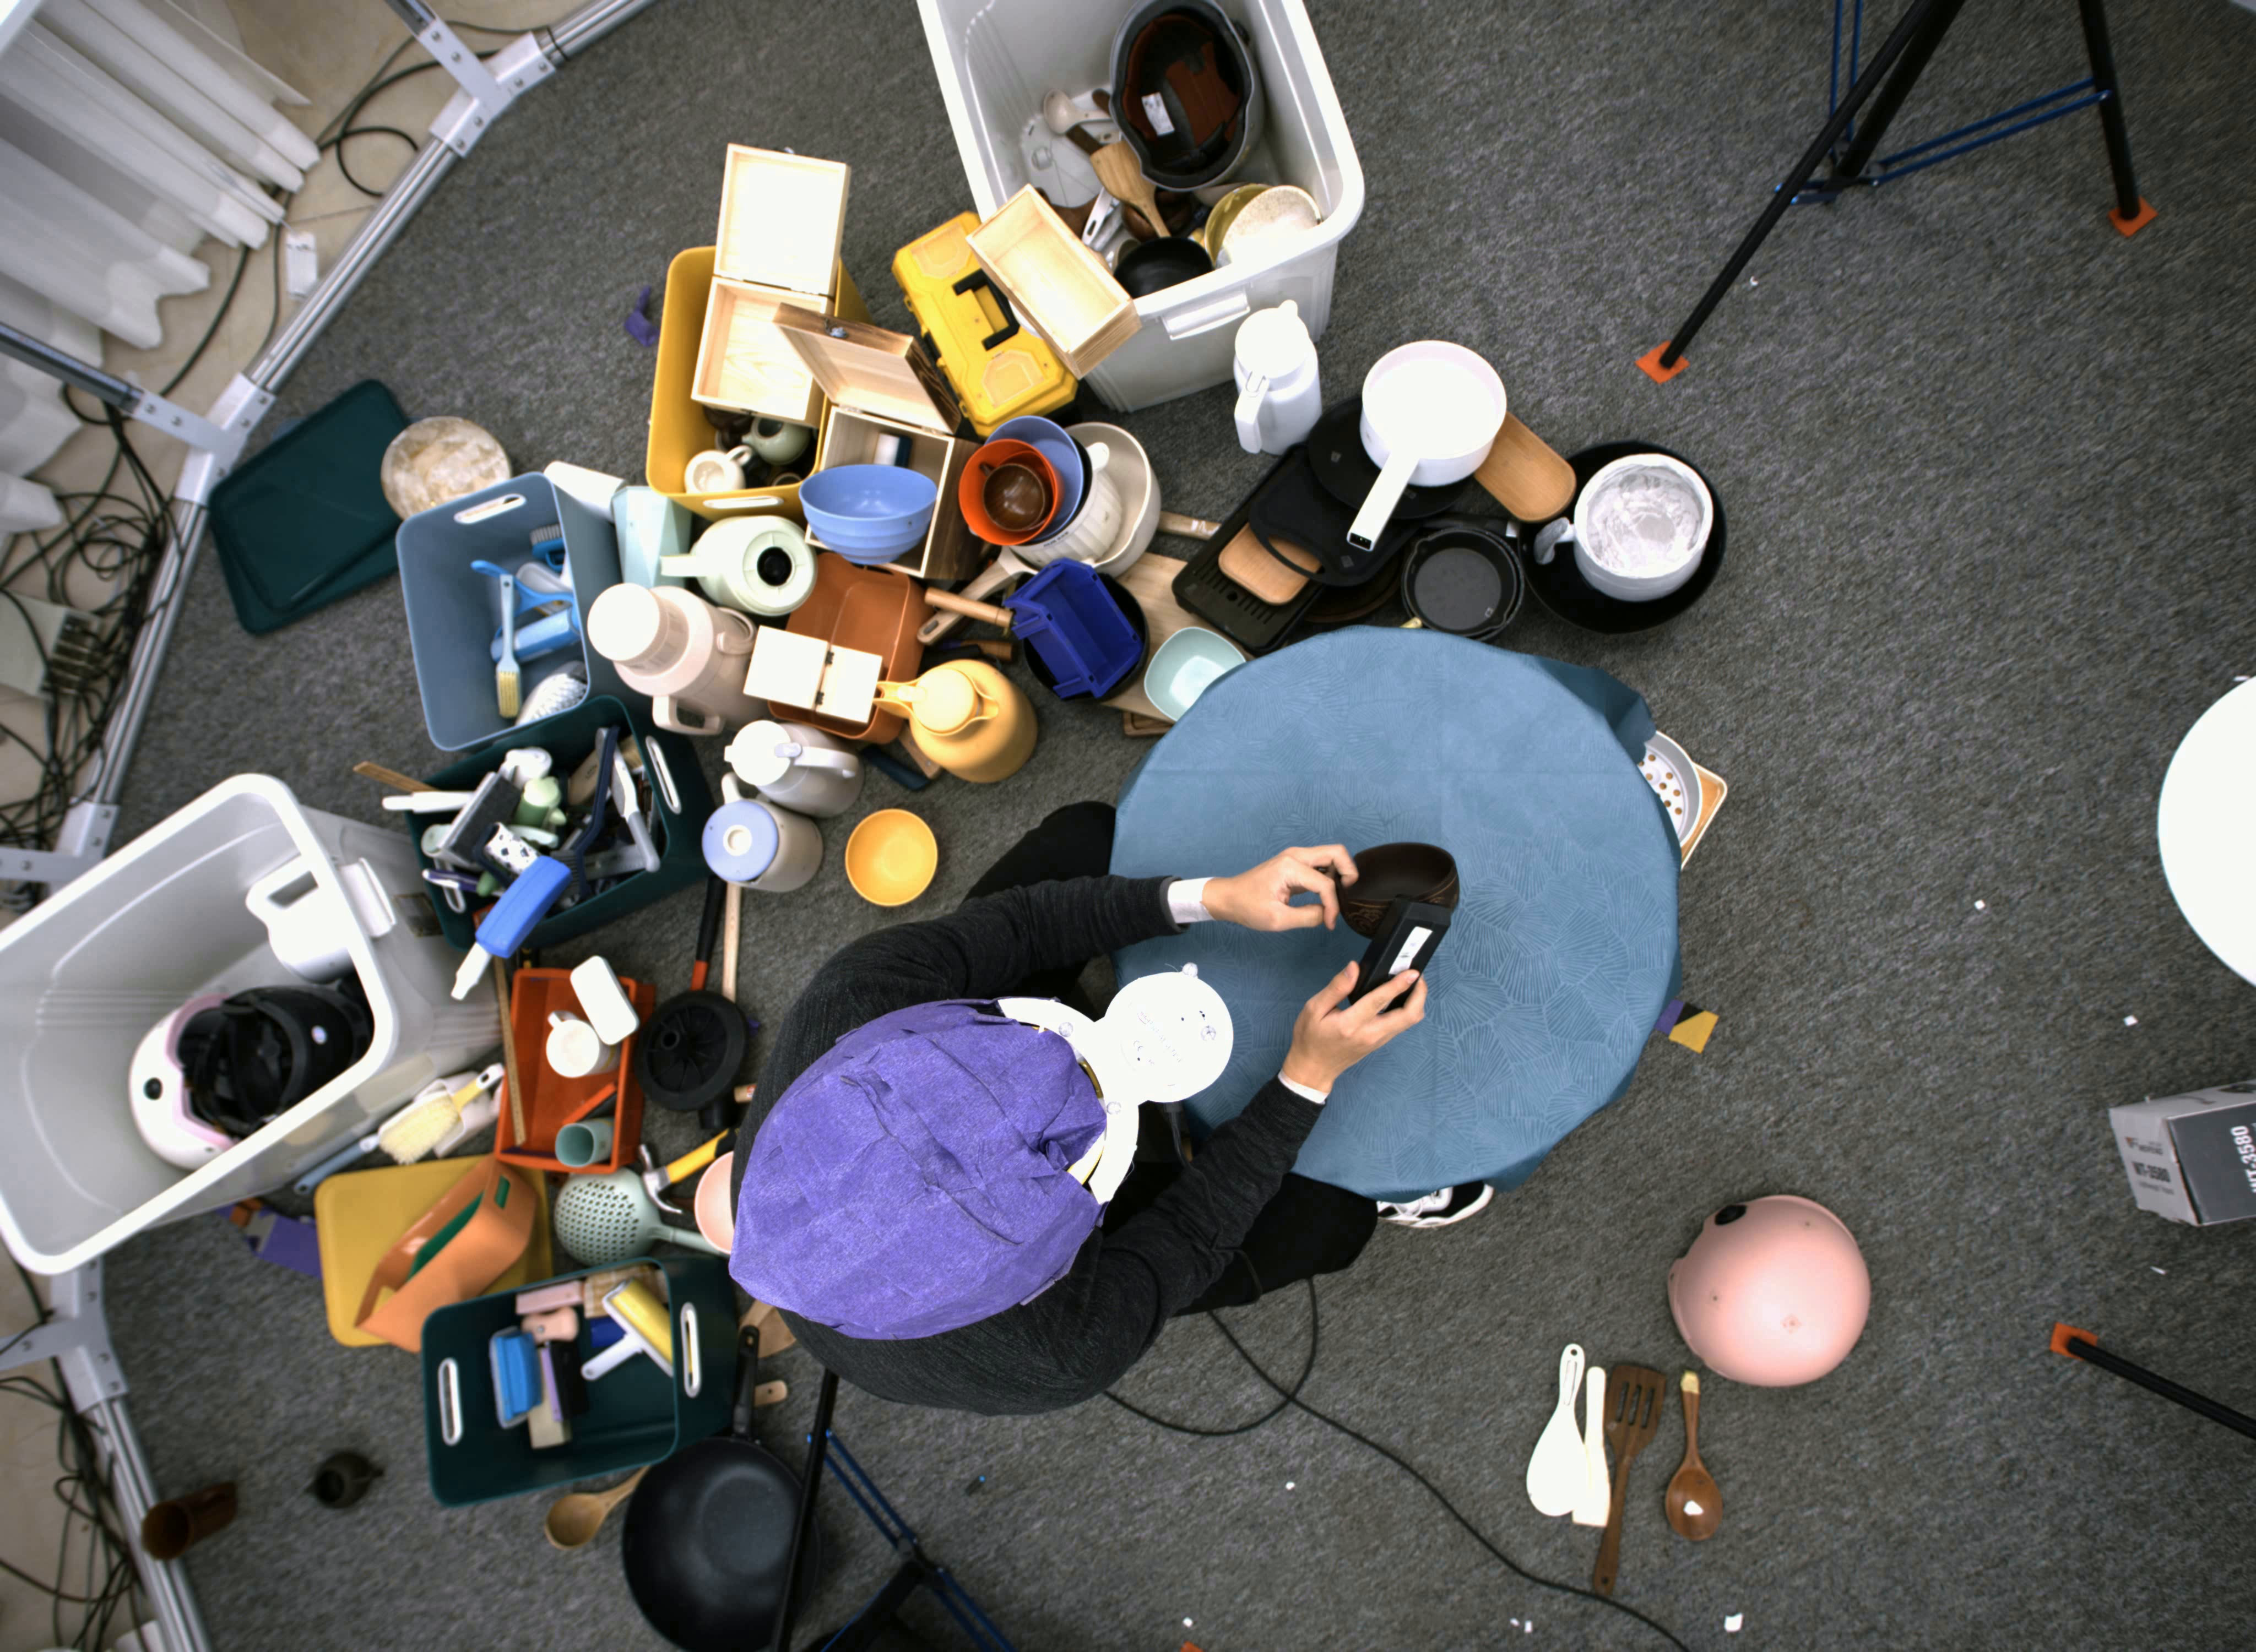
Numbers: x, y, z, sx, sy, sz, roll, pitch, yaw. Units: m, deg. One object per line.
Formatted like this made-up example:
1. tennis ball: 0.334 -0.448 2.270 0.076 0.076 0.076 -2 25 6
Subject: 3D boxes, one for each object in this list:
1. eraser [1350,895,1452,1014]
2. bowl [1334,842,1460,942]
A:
1. eraser: 0.251 0.119 1.280 0.053 0.029 0.129 11 130 -9
2. bowl: 0.260 0.071 1.326 0.118 0.115 0.071 -9 118 9
